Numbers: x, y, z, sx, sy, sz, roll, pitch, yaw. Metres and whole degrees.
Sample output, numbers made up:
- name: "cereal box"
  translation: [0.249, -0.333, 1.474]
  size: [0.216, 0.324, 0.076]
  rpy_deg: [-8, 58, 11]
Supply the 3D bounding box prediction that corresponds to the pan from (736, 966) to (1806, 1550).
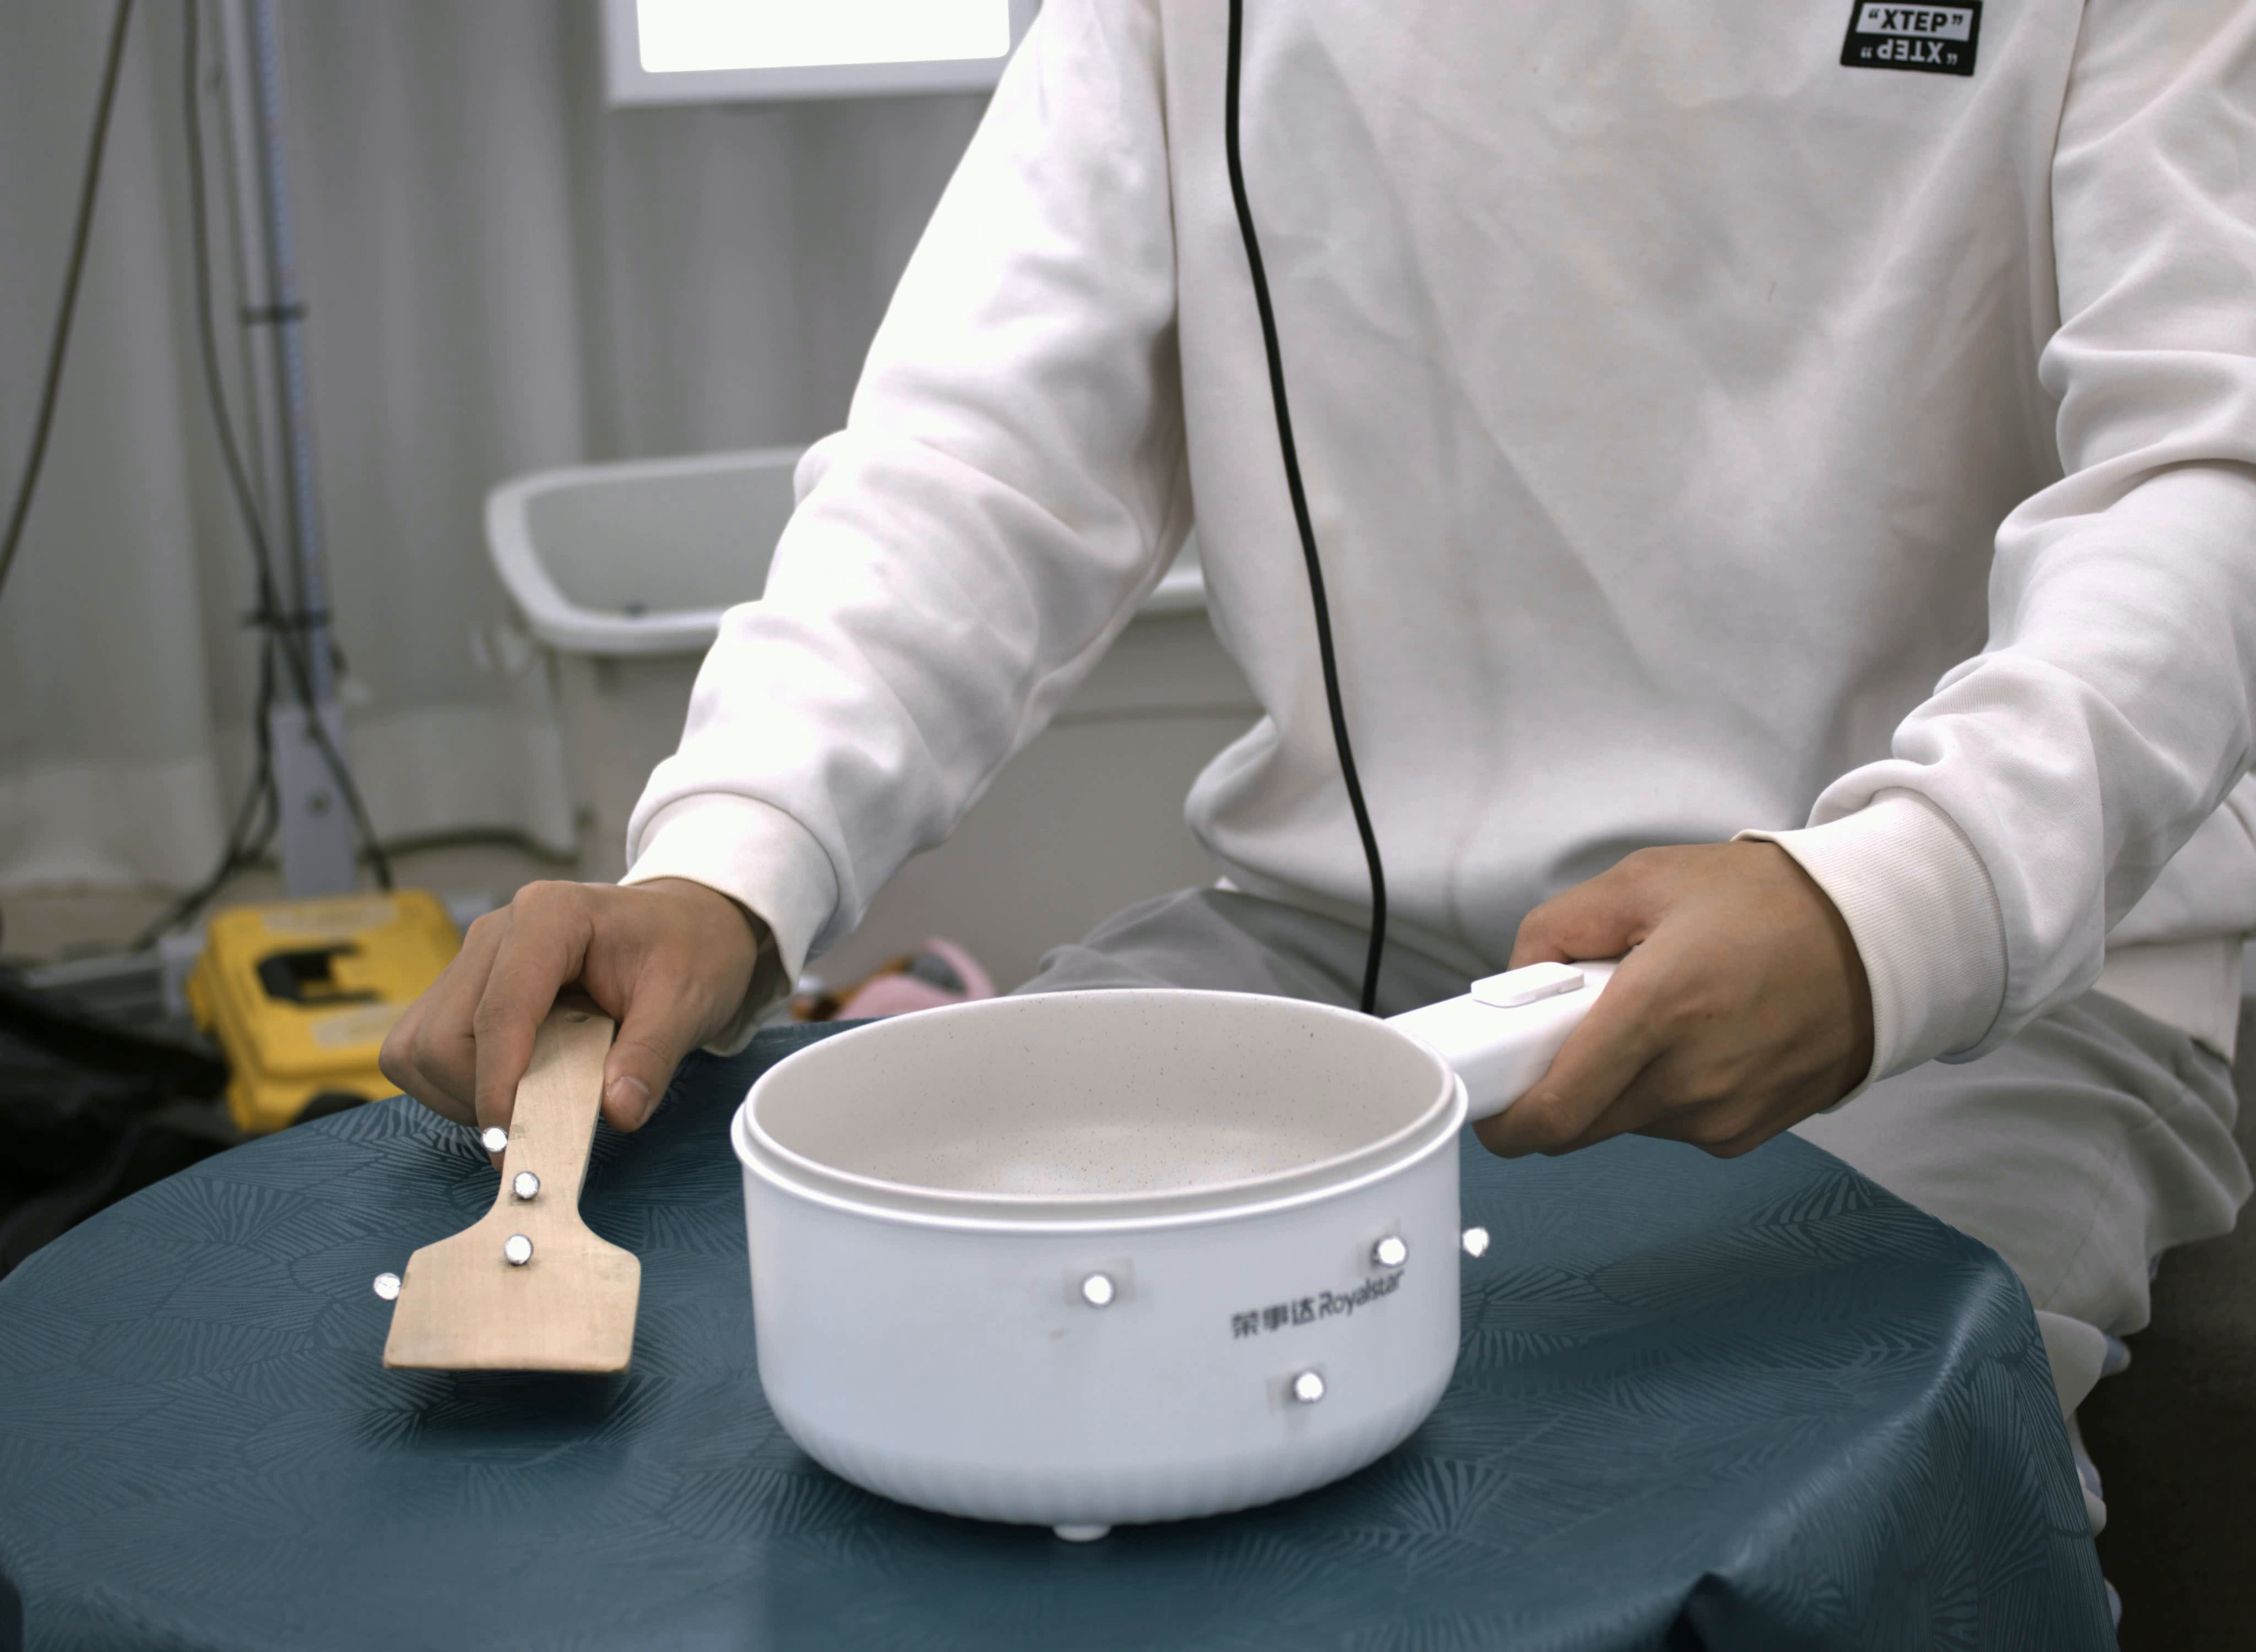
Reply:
- name: "pan"
  translation: [0.054, 0.115, 1.549]
  size: [0.353, 0.102, 0.202]
  rpy_deg: [-10, 12, -38]
